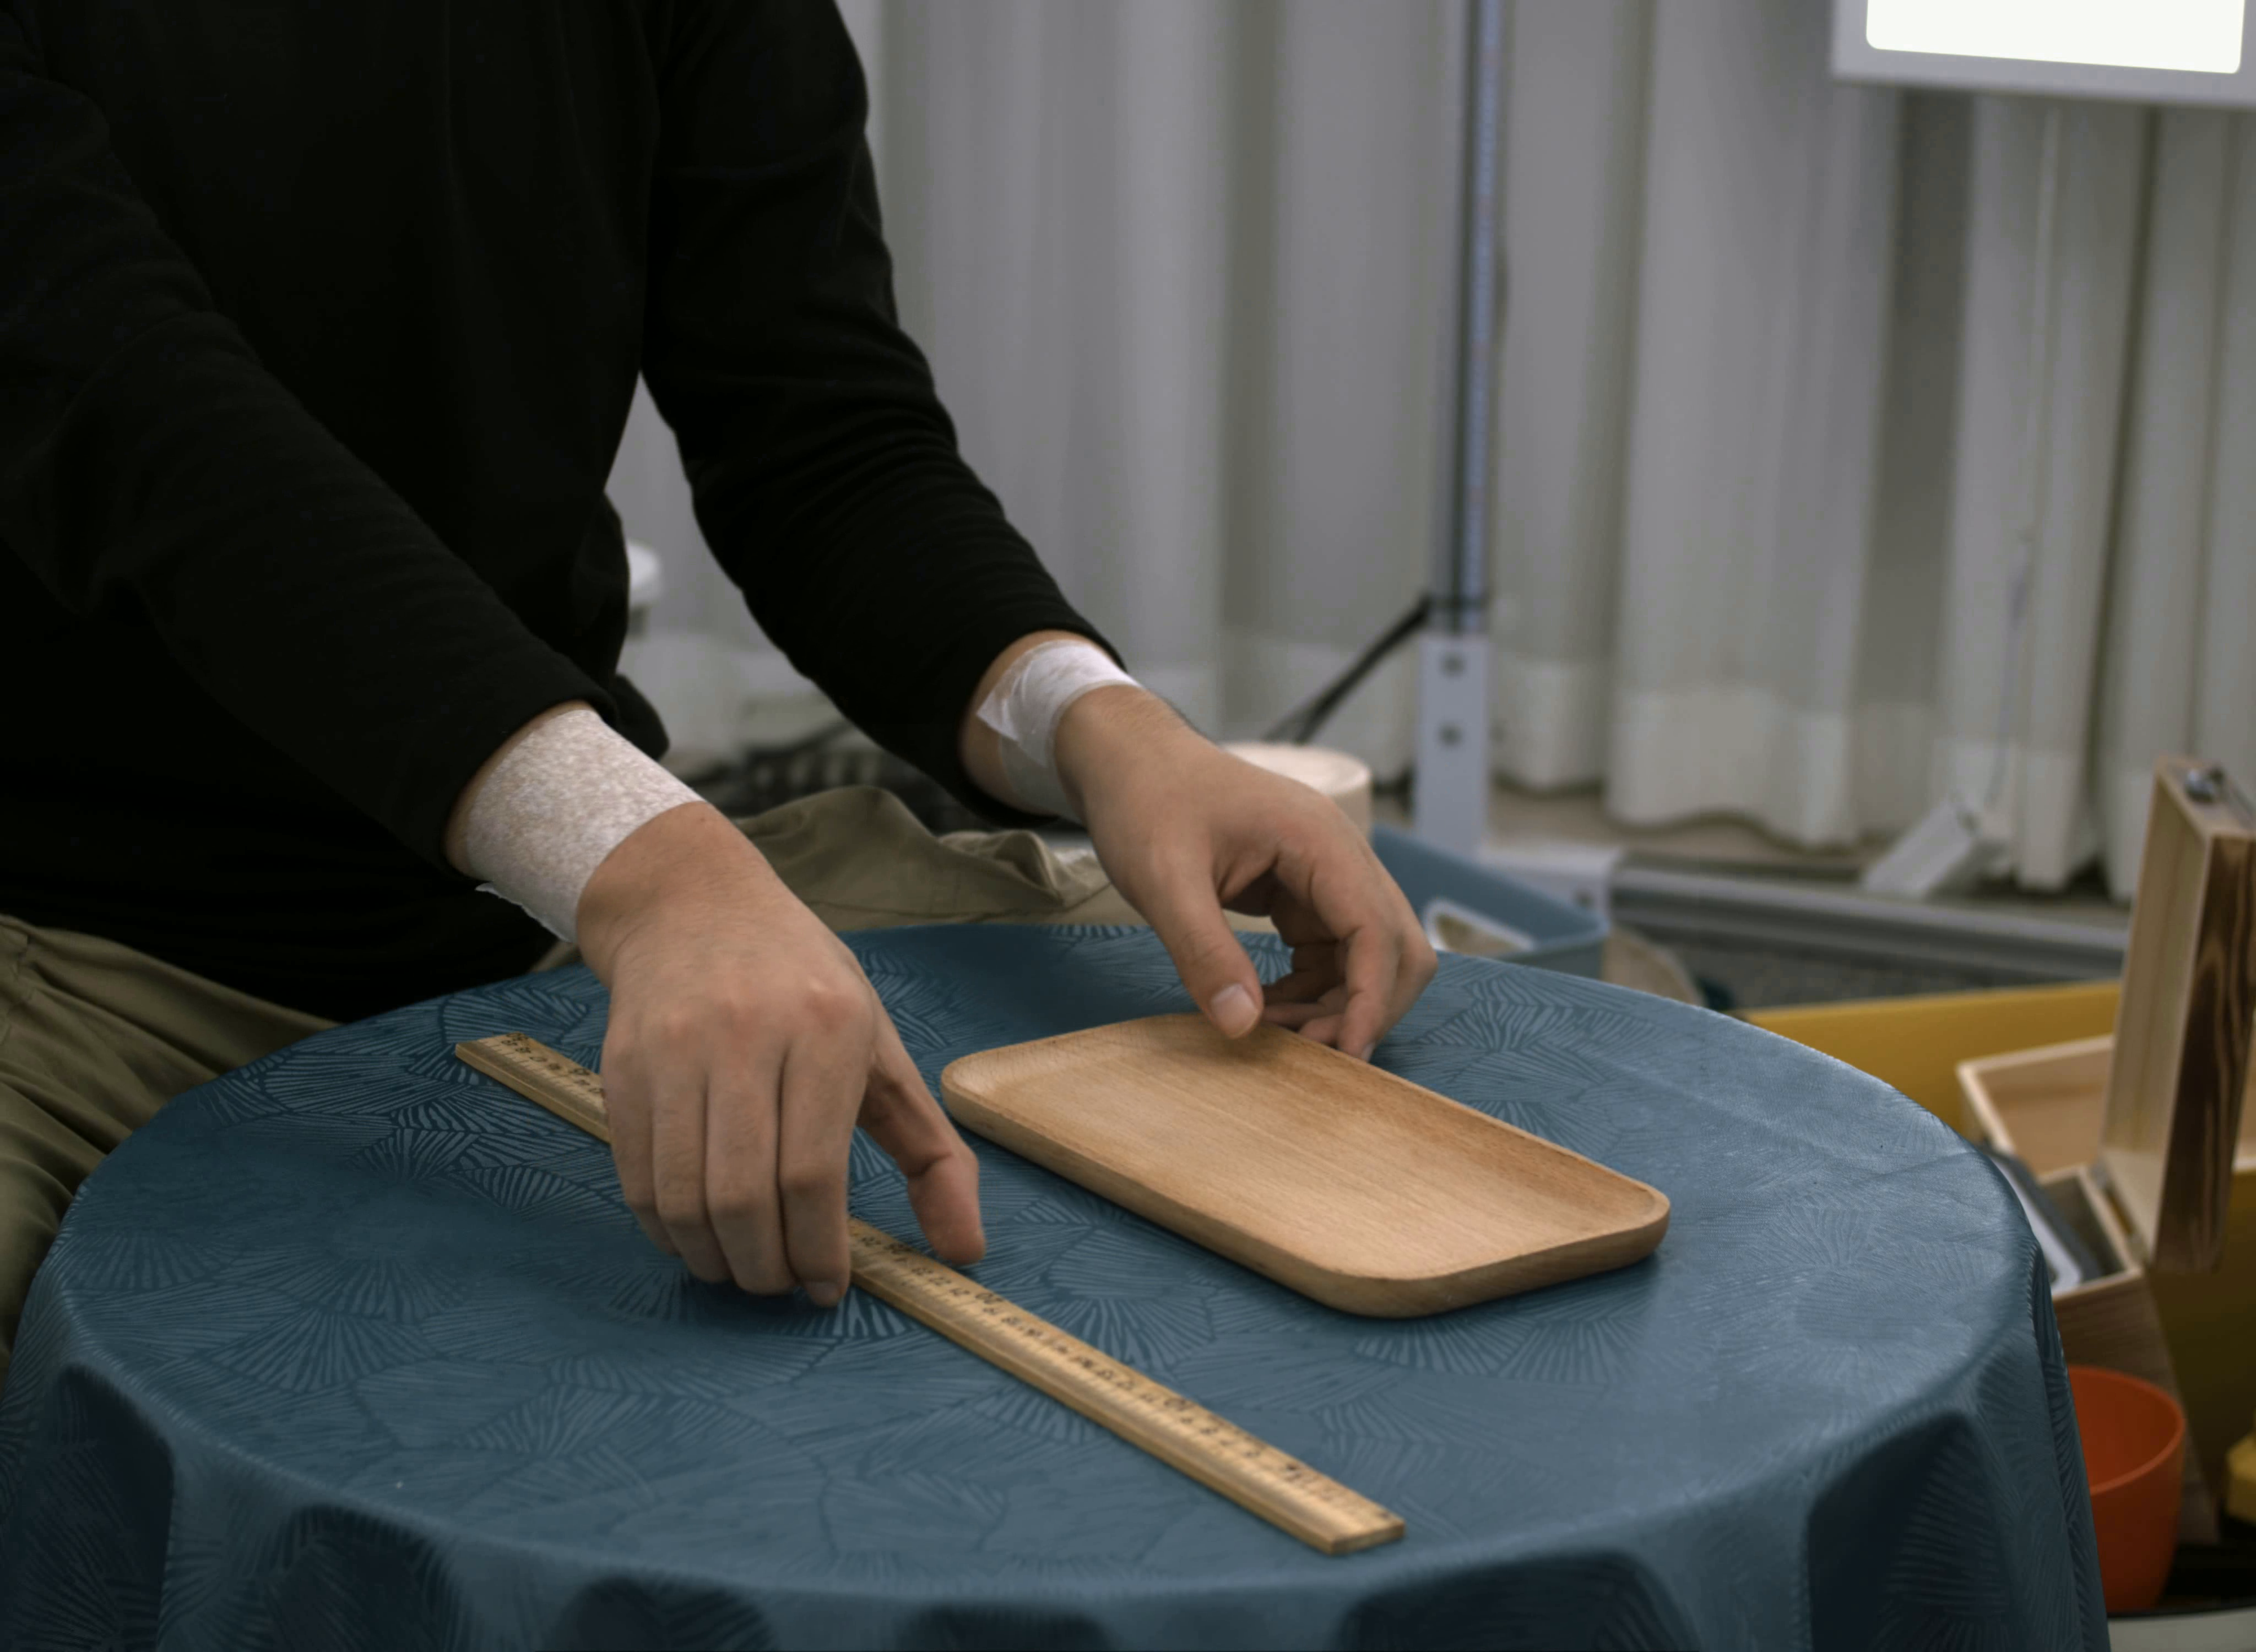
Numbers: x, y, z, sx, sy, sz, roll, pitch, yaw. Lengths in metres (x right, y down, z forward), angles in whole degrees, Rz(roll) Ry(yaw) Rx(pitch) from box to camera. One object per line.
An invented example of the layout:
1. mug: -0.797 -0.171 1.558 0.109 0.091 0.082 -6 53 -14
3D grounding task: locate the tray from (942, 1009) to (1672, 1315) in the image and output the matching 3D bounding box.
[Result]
1. tray: 0.051 0.101 1.631 0.131 0.023 0.247 -7 16 -33

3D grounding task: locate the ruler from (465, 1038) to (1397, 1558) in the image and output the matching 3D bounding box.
1. ruler: -0.074 0.129 1.551 0.027 0.006 0.494 -7 17 -33
